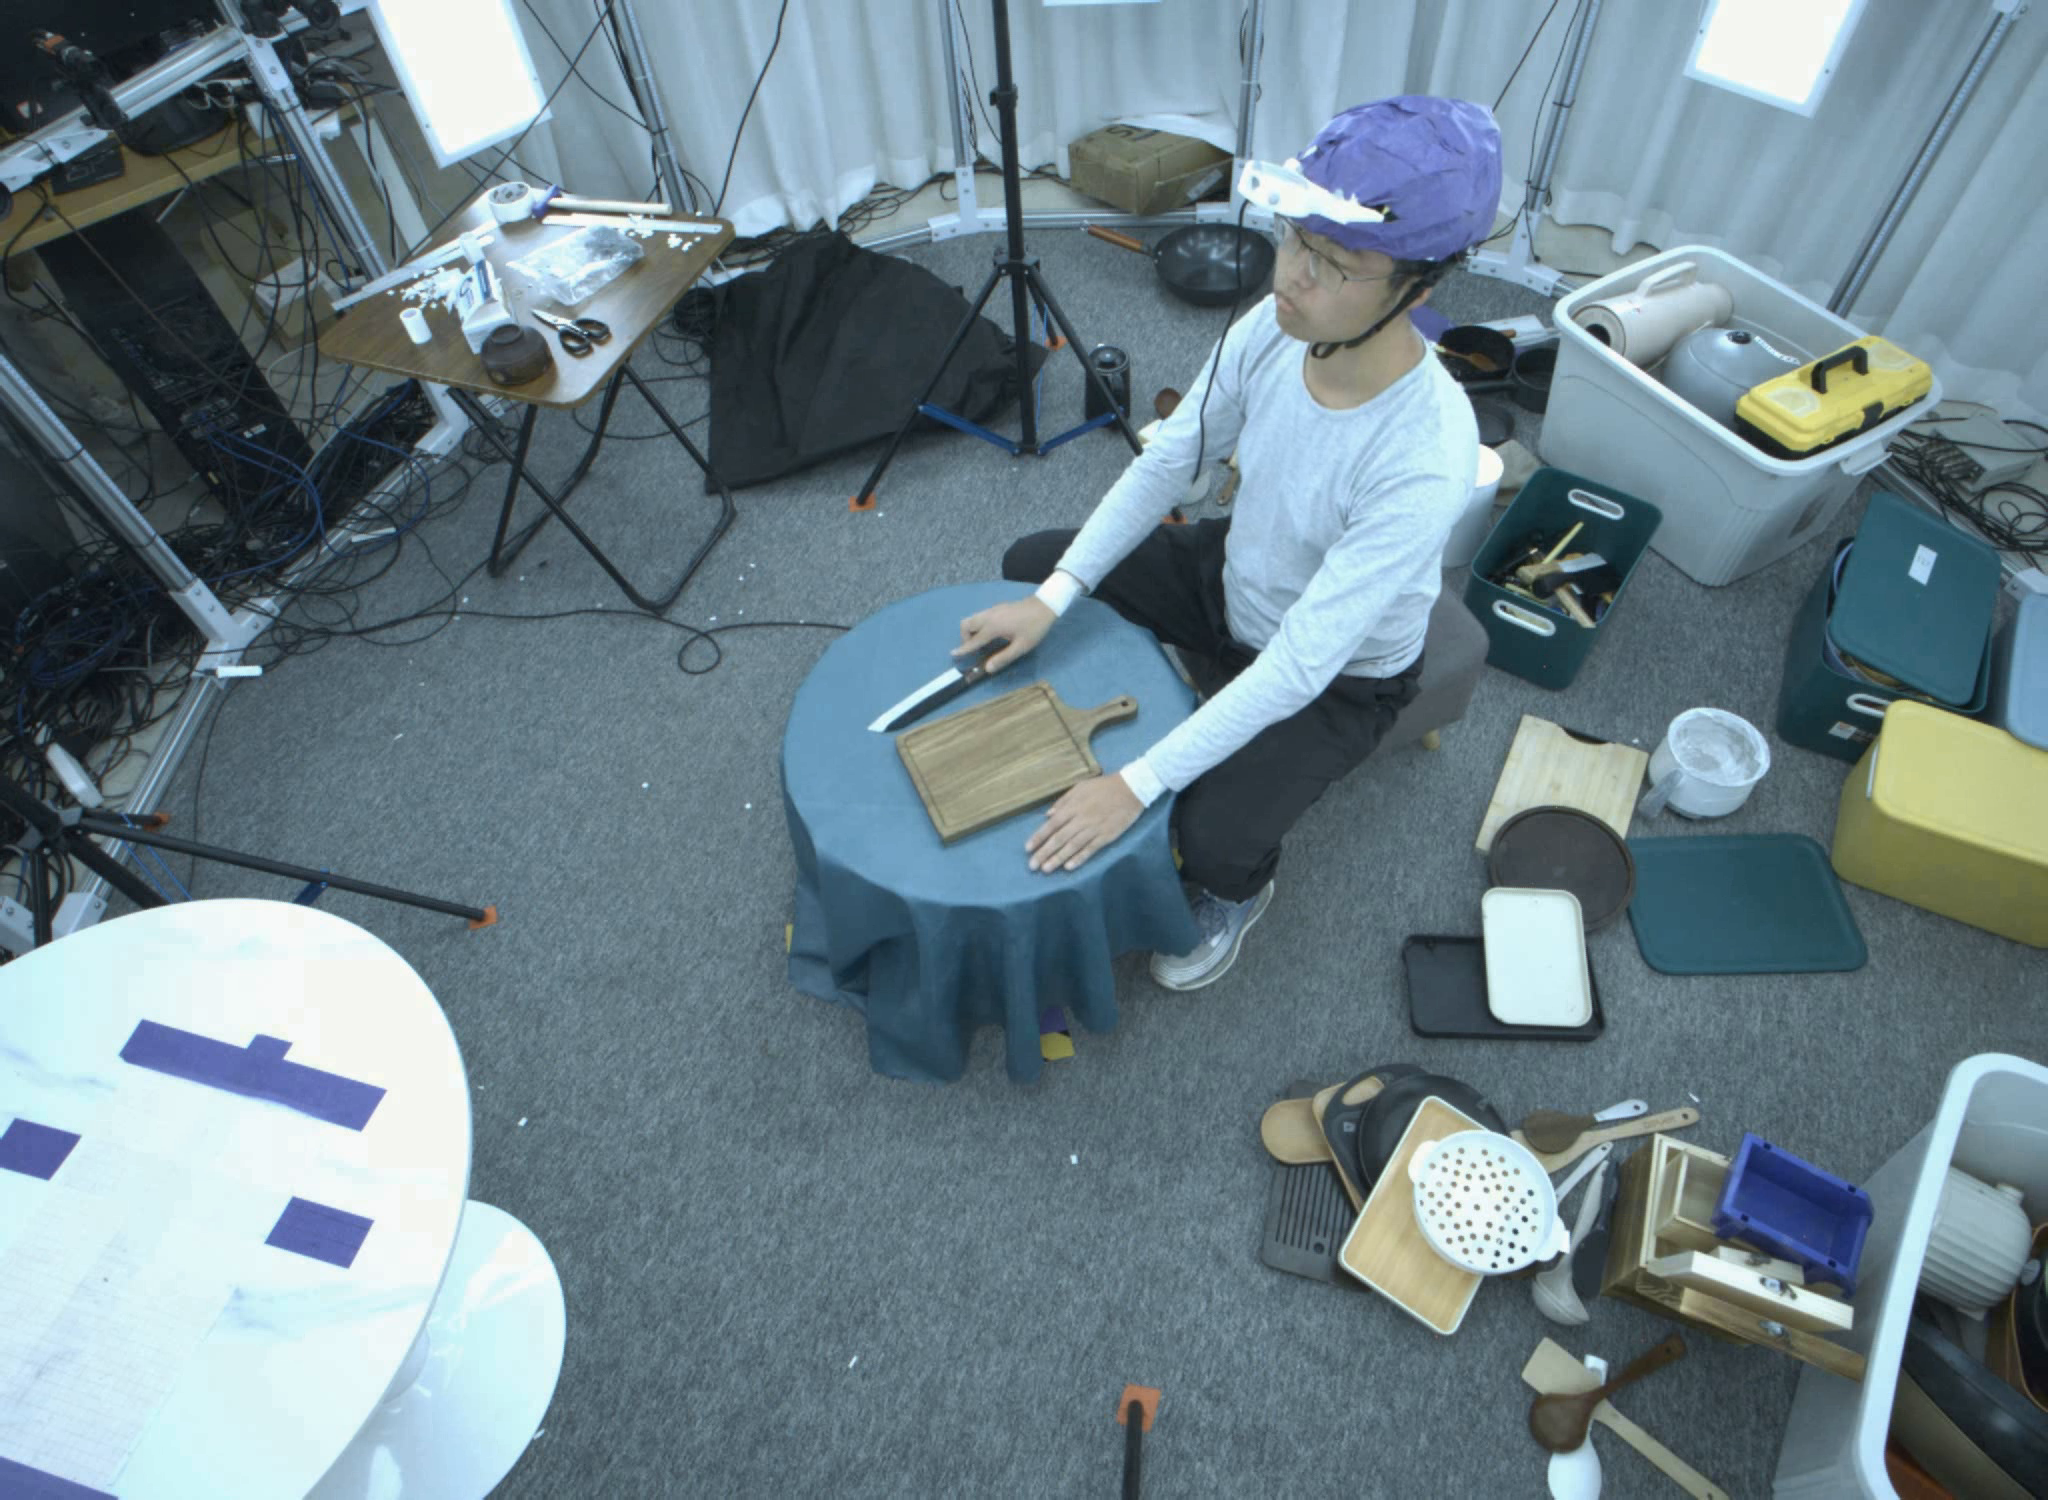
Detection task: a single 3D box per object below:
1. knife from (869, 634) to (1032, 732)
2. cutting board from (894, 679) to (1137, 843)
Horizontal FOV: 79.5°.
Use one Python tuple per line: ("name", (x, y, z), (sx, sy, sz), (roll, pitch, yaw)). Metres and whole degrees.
("knife", (-0.110, -0.101, 1.861), (0.291, 0.020, 0.049), (-31, 56, -16))
("cutting board", (0.006, -0.007, 1.788), (0.355, 0.023, 0.197), (-22, 57, -13))
